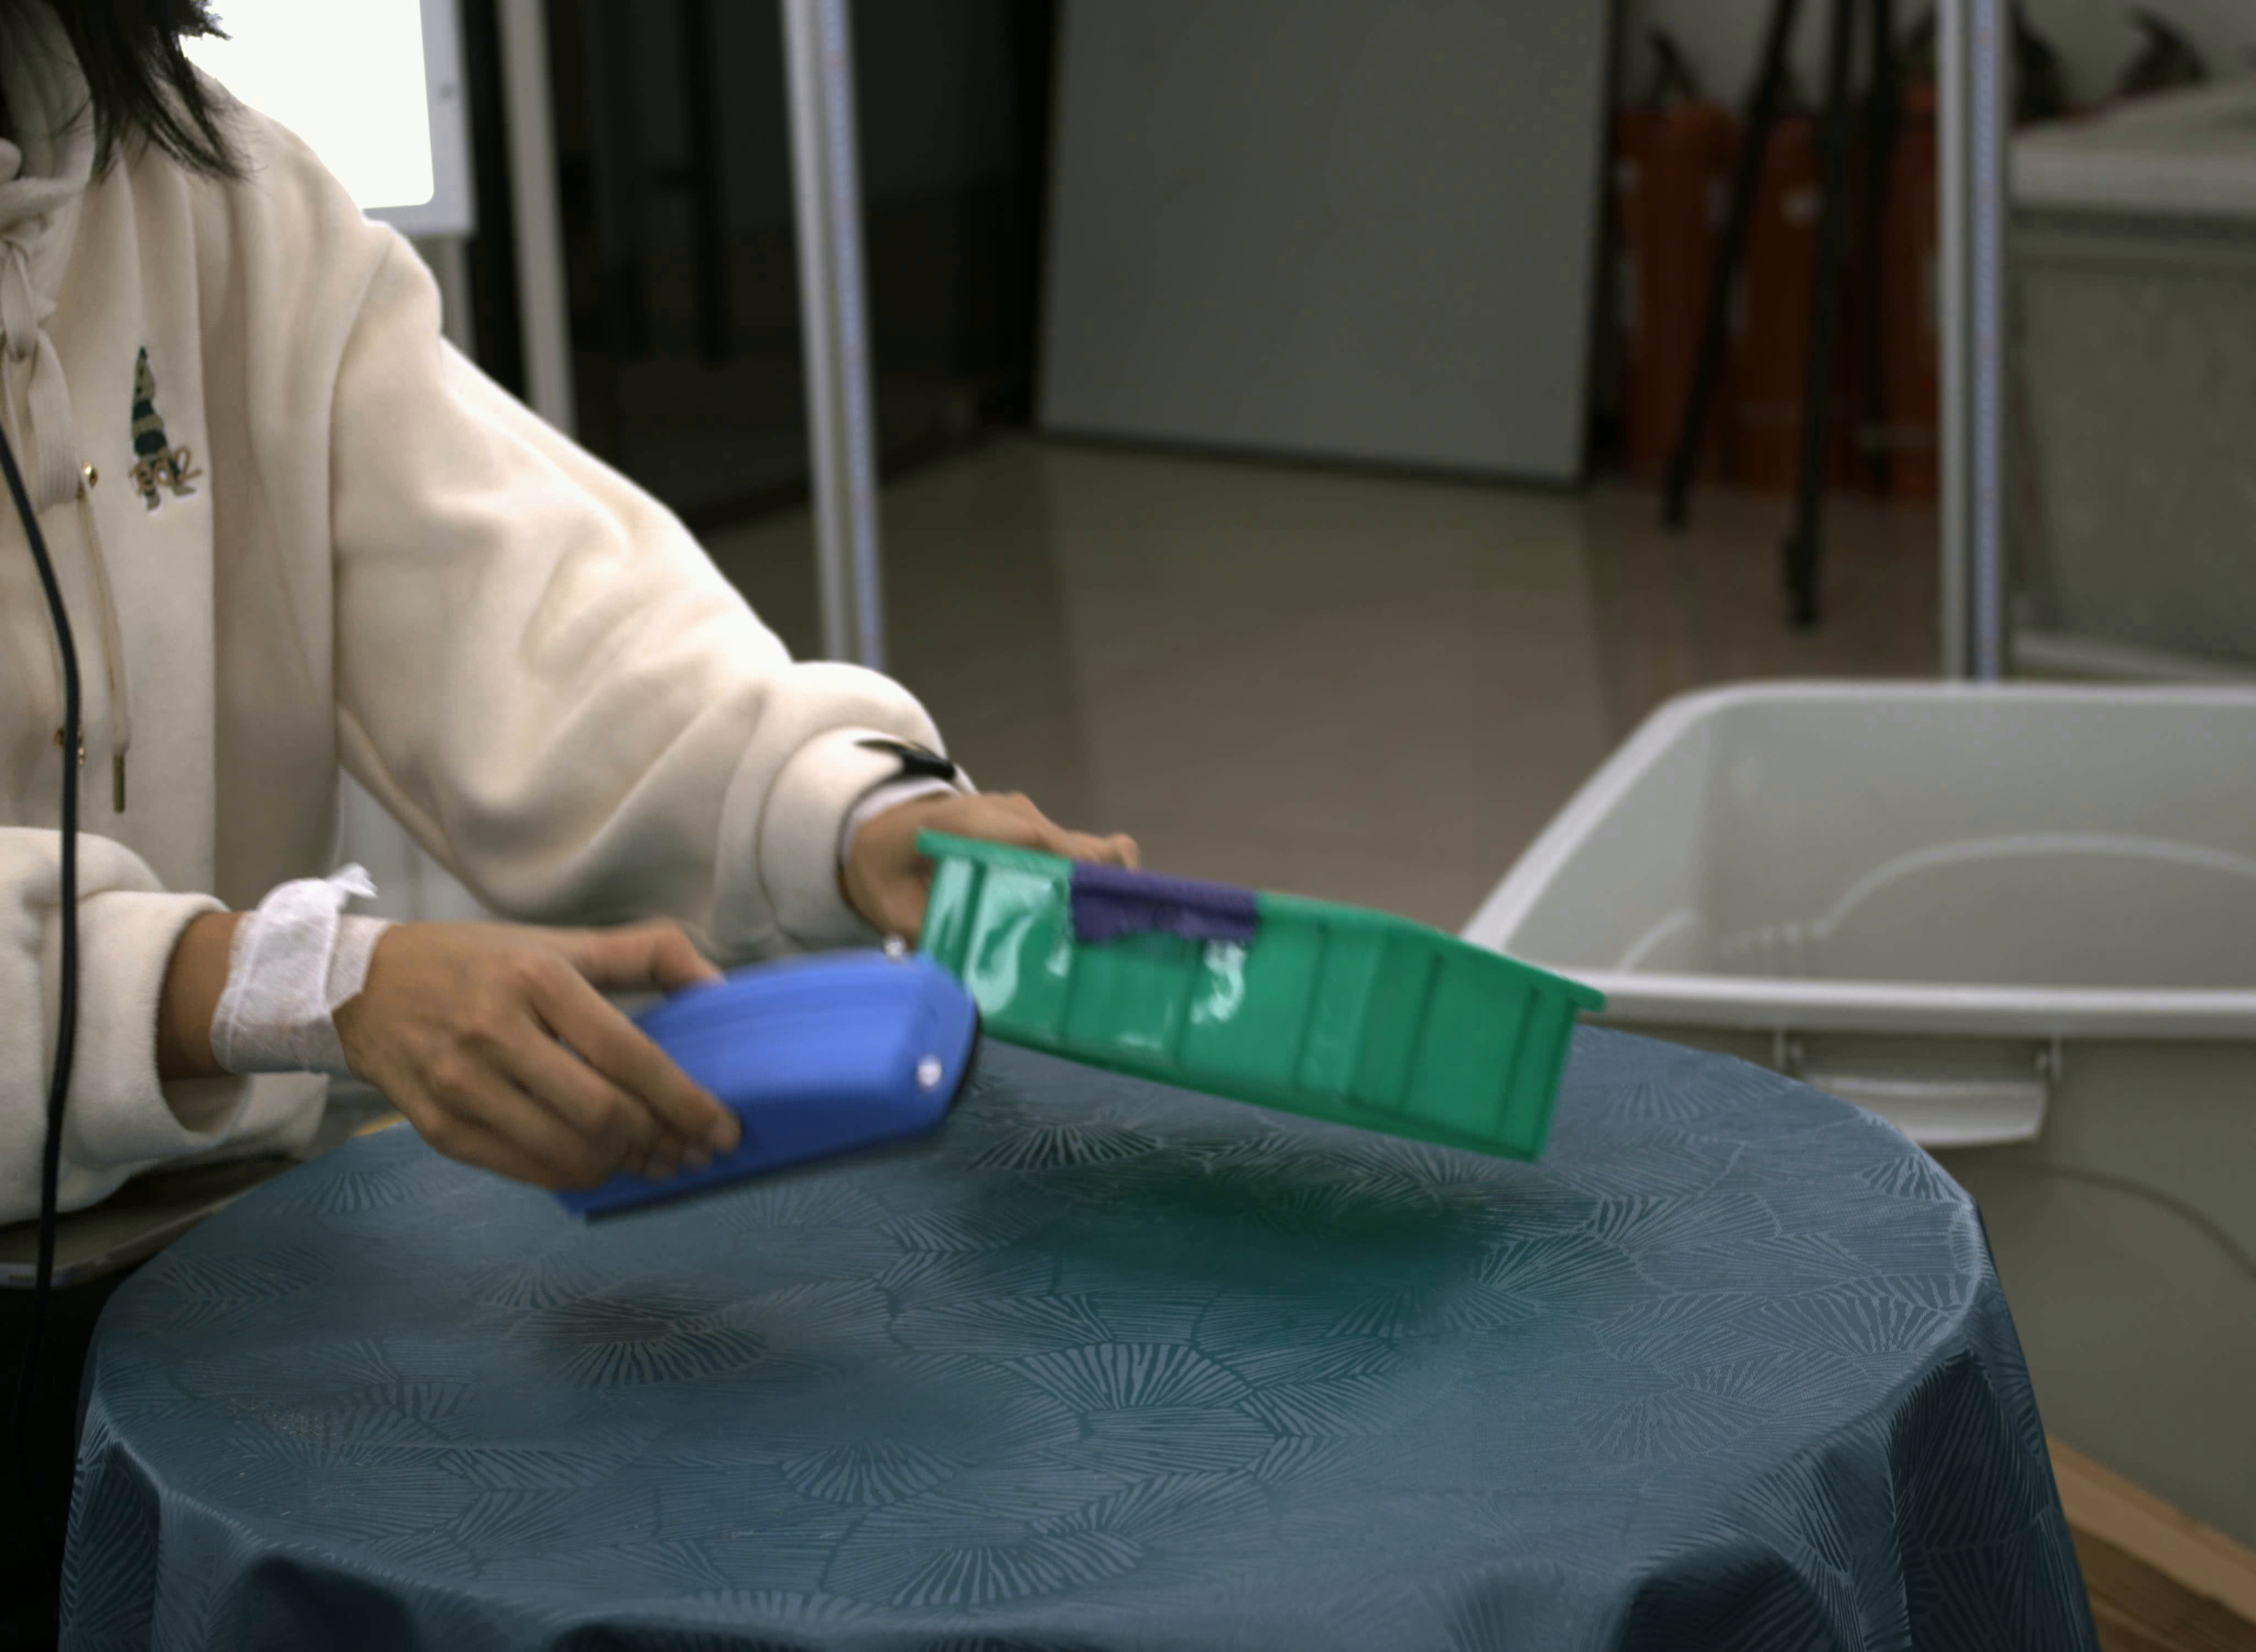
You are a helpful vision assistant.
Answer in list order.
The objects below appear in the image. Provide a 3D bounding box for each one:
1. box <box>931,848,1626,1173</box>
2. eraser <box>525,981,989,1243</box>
[{"bbox_3d":[0.043,0.061,1.745,0.212,0.066,0.136,10,-3,37],"label":"box"},{"bbox_3d":[-0.117,0.085,1.644,0.163,0.047,0.054,-14,41,38],"label":"eraser"}]
